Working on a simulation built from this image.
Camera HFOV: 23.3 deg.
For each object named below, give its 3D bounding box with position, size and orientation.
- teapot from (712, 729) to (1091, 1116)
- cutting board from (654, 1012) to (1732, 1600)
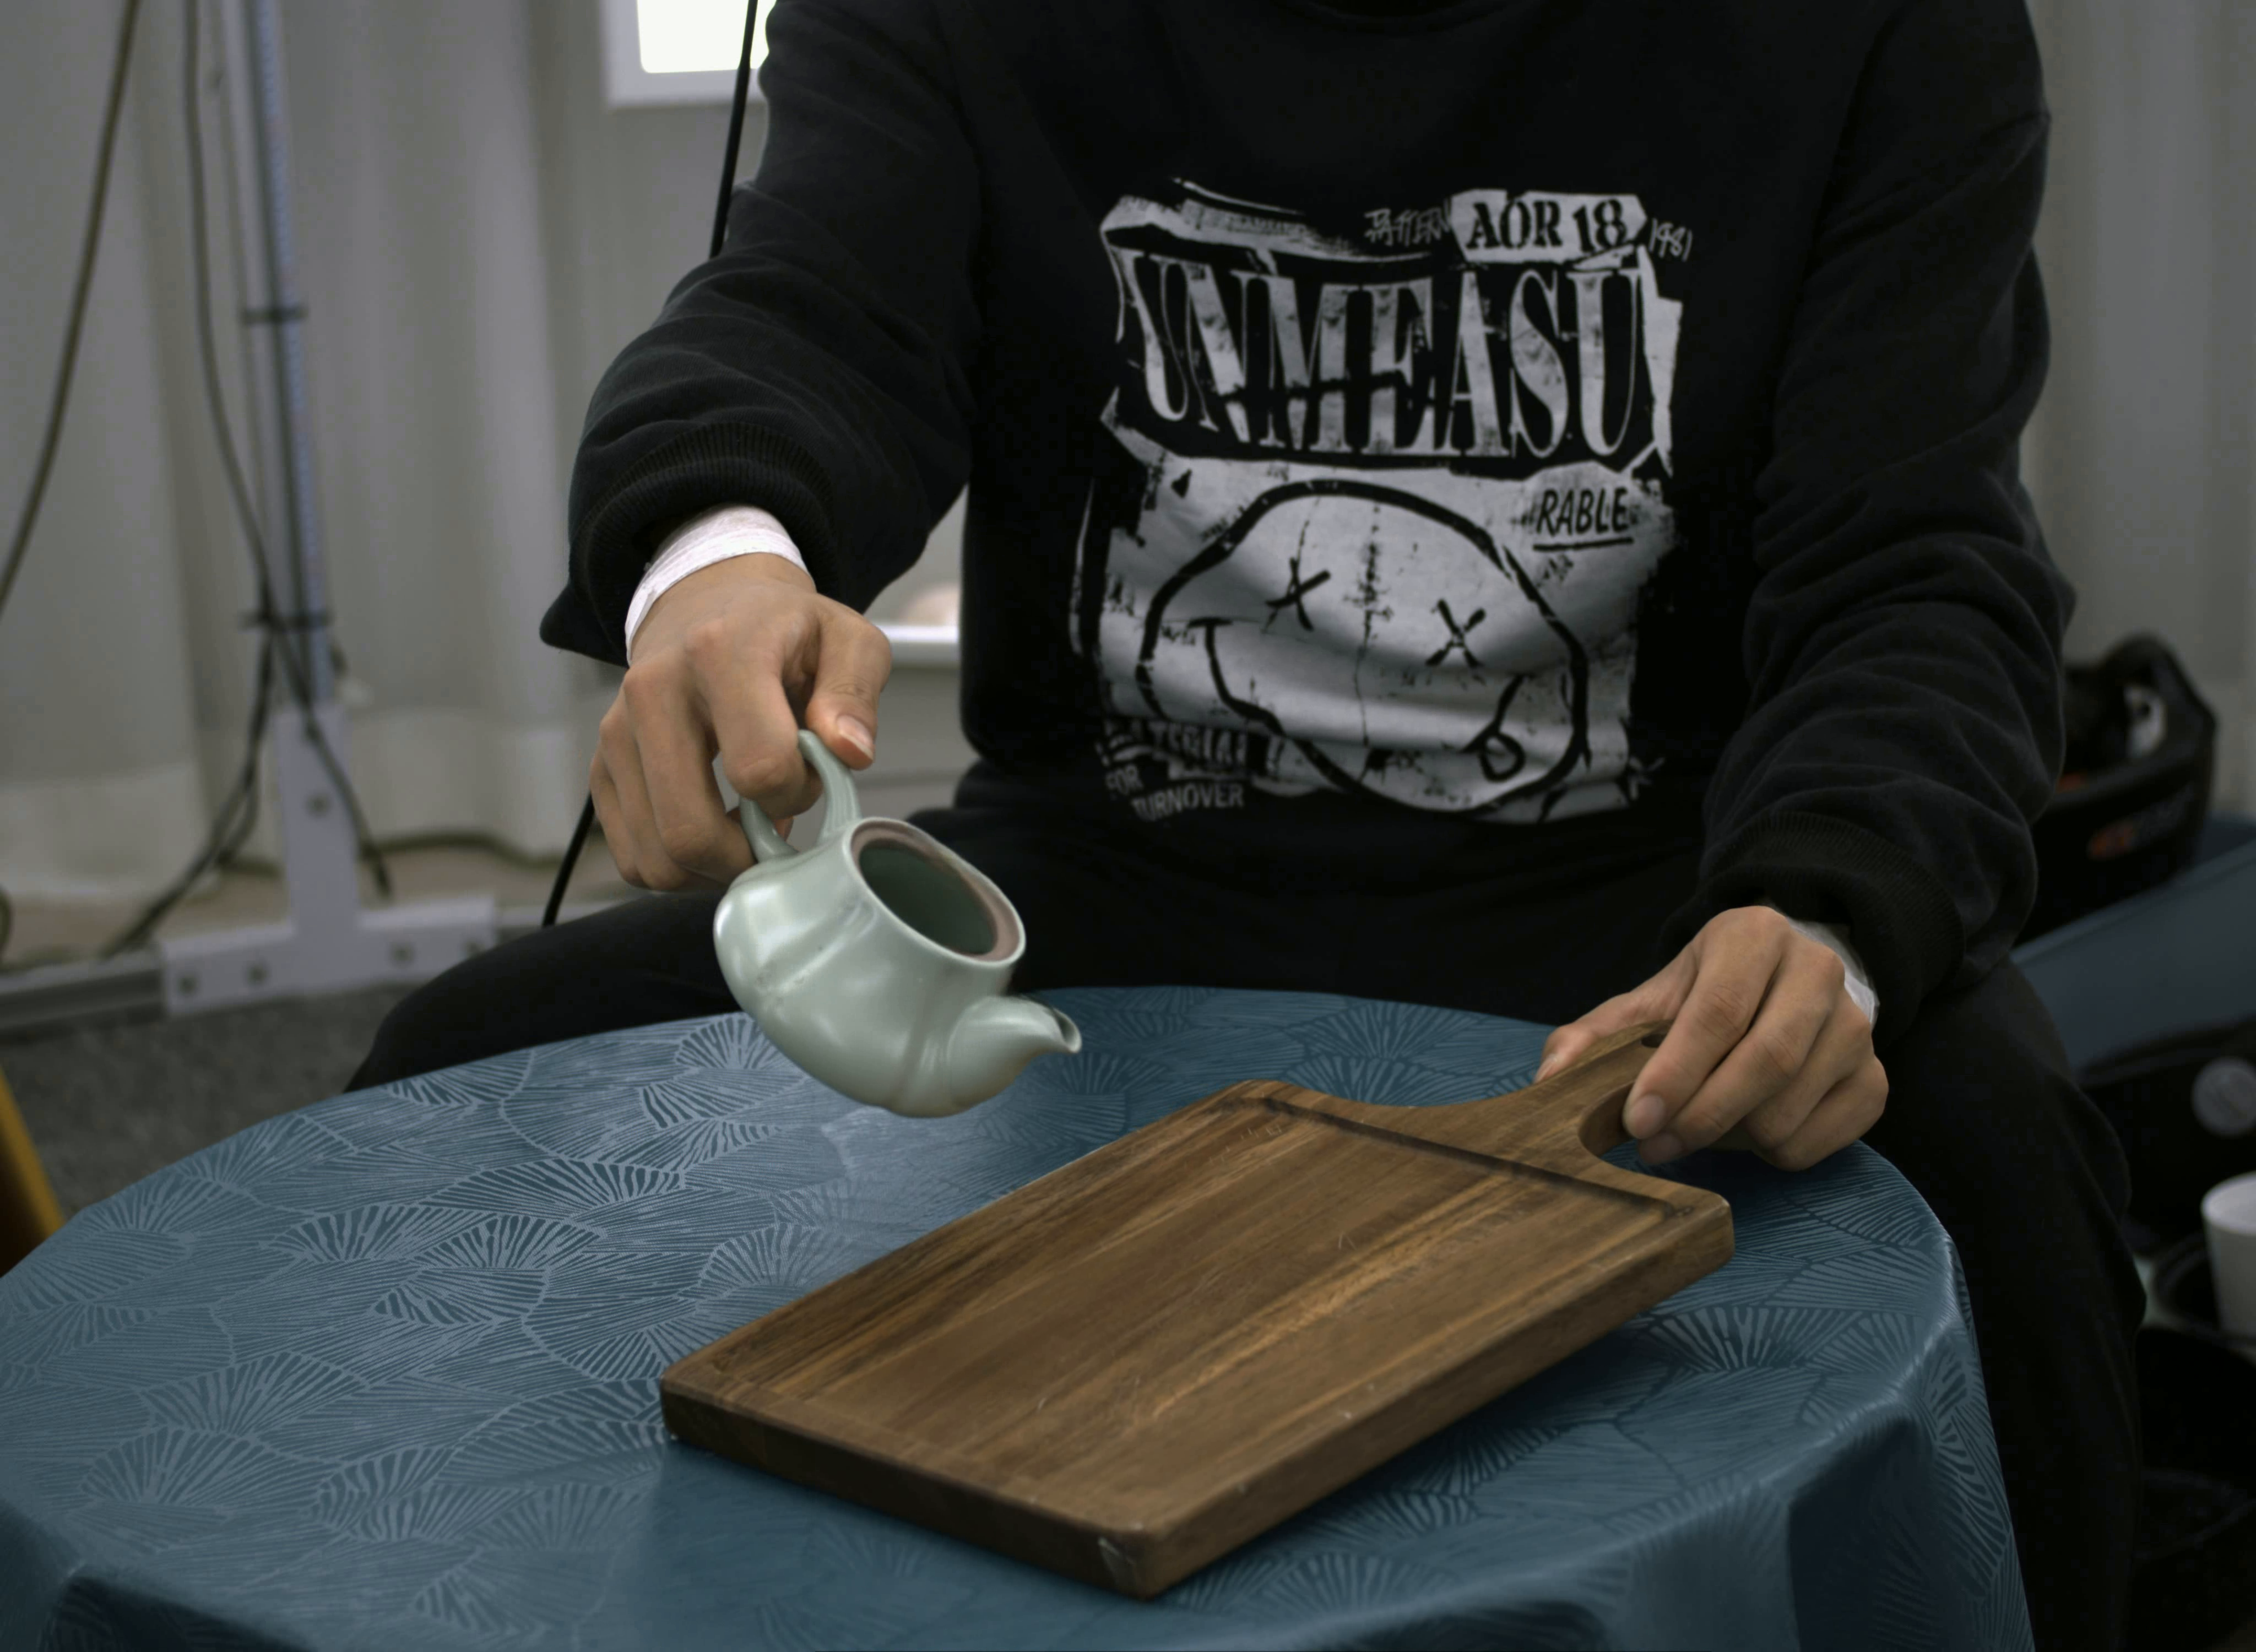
[{"bbox_3d":[-0.072,0.033,1.570,0.138,0.061,0.096,47,28,19],"label":"teapot"},{"bbox_3d":[0.054,0.122,1.571,0.202,0.023,0.352,11,26,43],"label":"cutting board"}]
